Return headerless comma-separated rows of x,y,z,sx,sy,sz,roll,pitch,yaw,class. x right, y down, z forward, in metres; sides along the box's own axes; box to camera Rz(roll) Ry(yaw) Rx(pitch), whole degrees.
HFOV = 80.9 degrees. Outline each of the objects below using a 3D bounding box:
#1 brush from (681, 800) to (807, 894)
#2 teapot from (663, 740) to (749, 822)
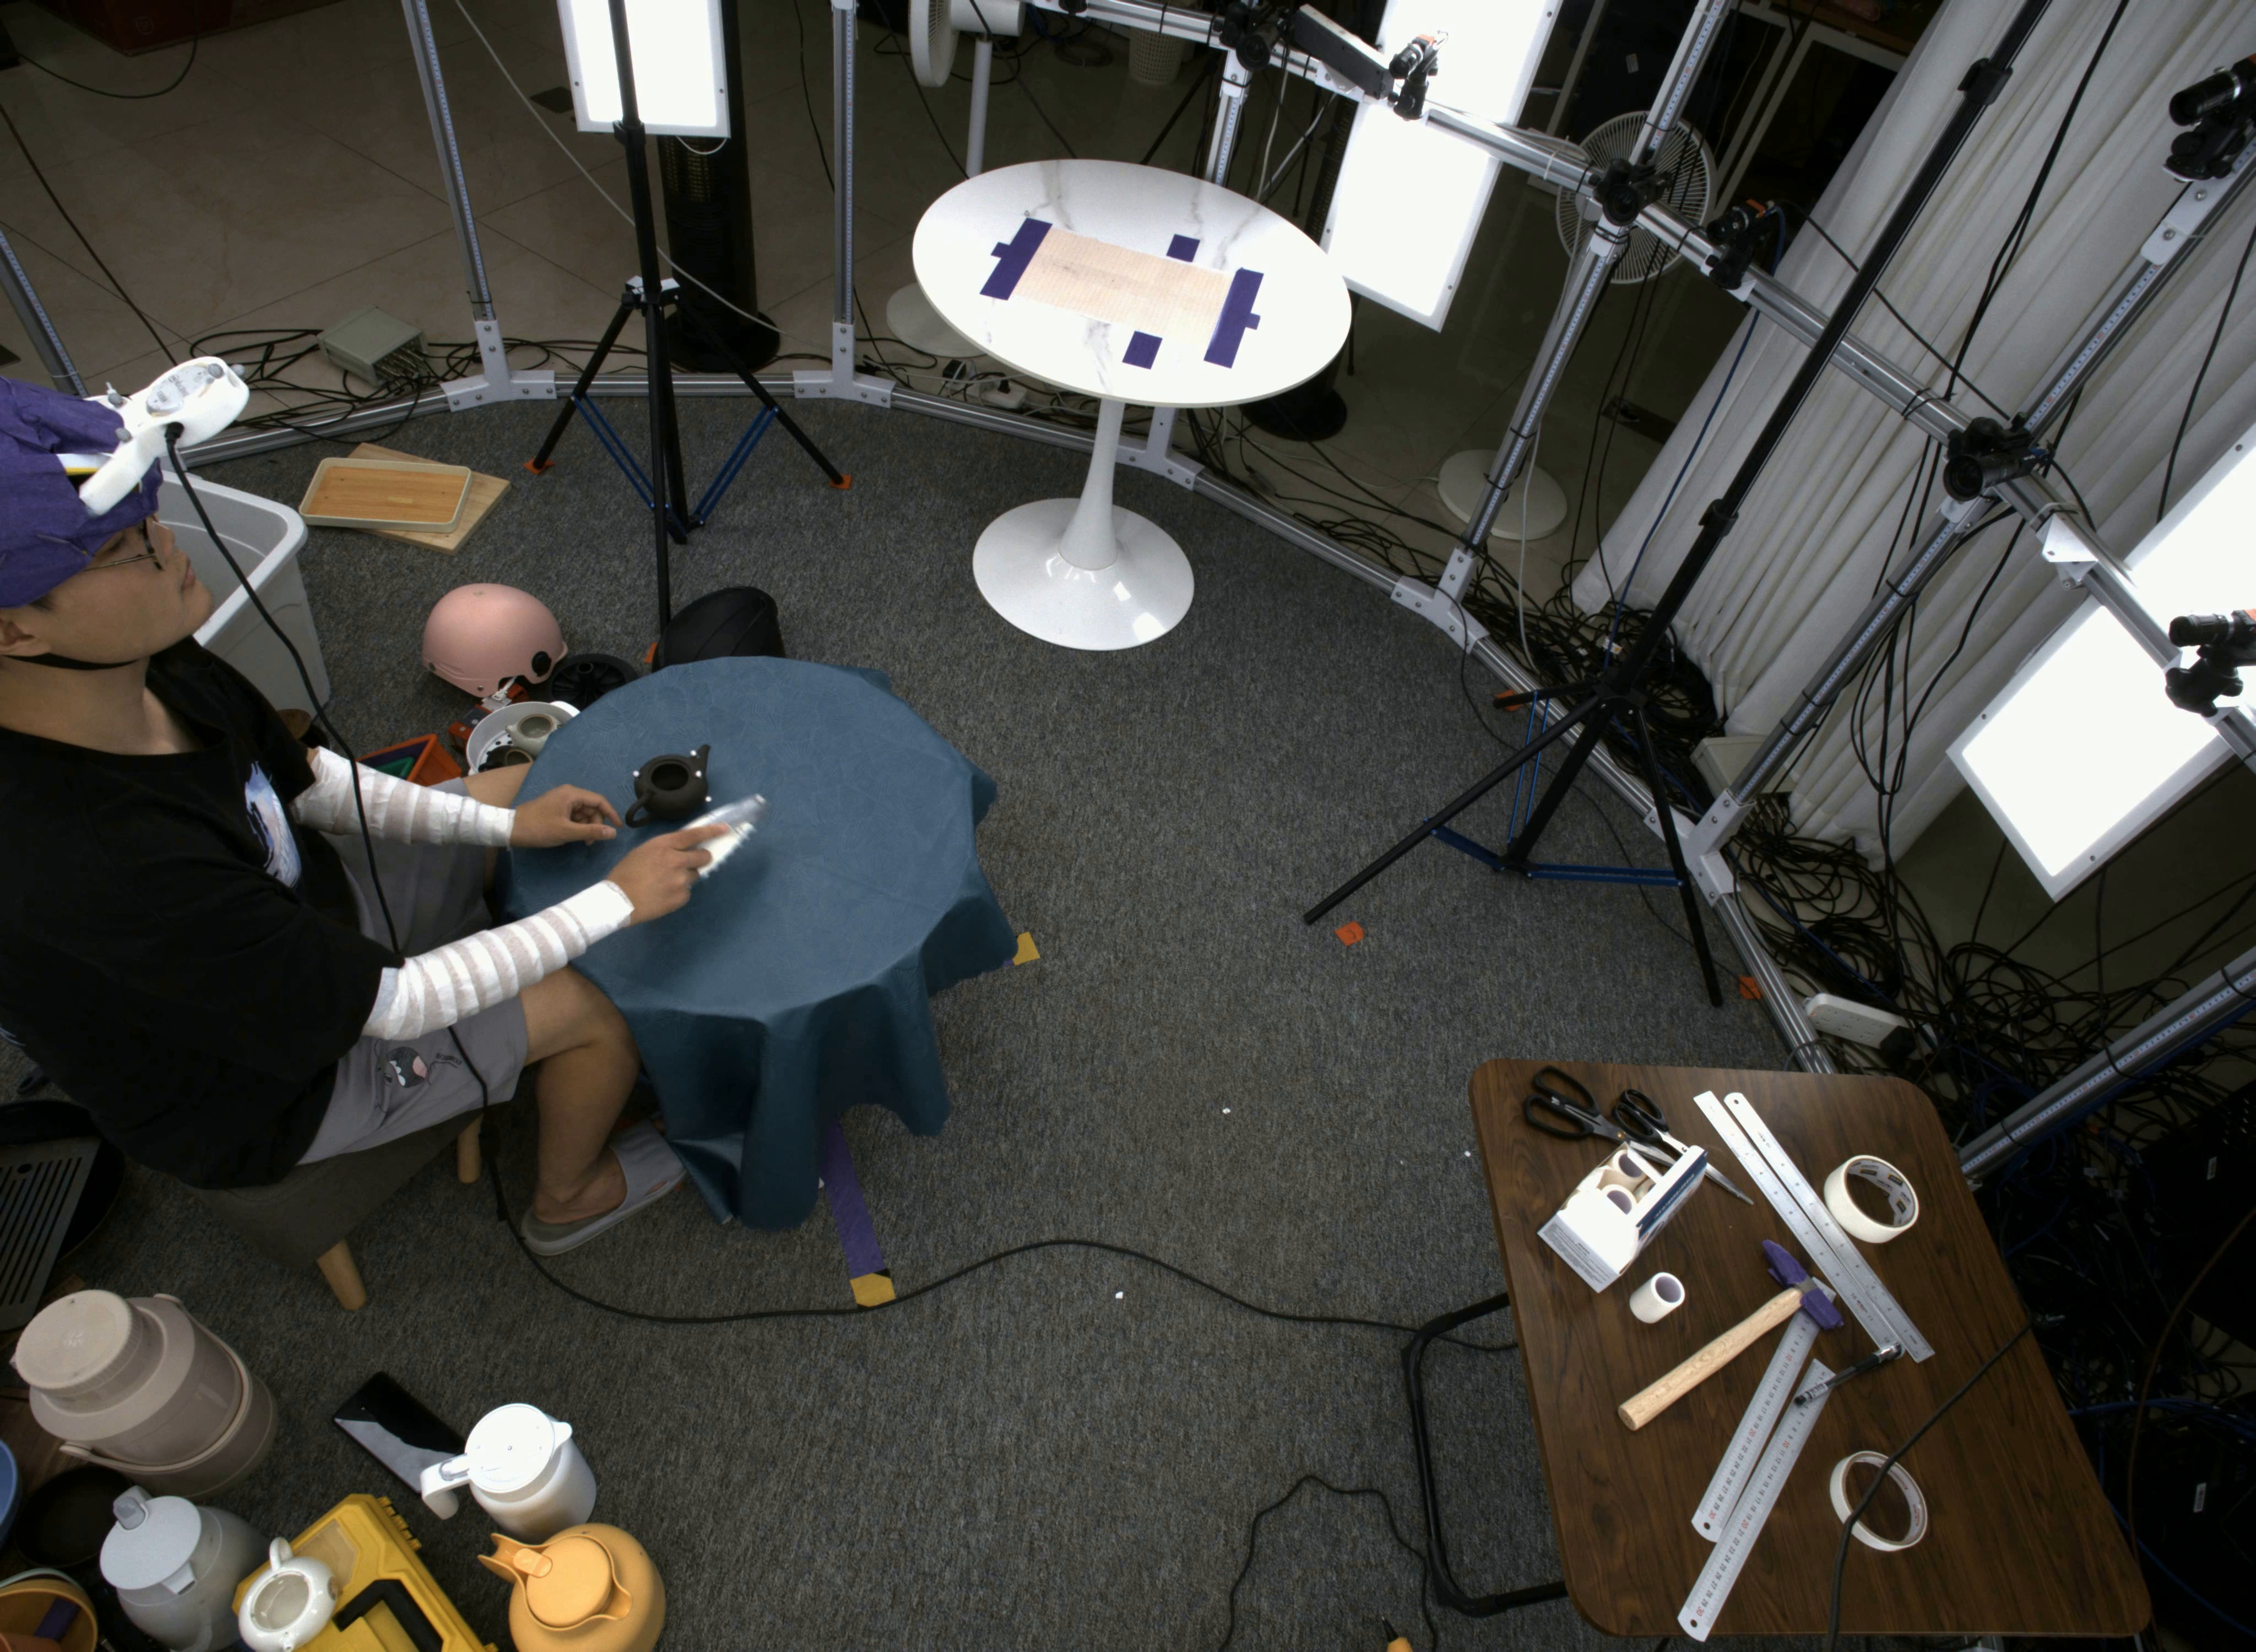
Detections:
-0.474,0.011,1.612,0.175,0.093,0.062,-34,90,-20,brush
-0.555,-0.058,1.703,0.090,0.066,0.154,33,52,13,teapot
